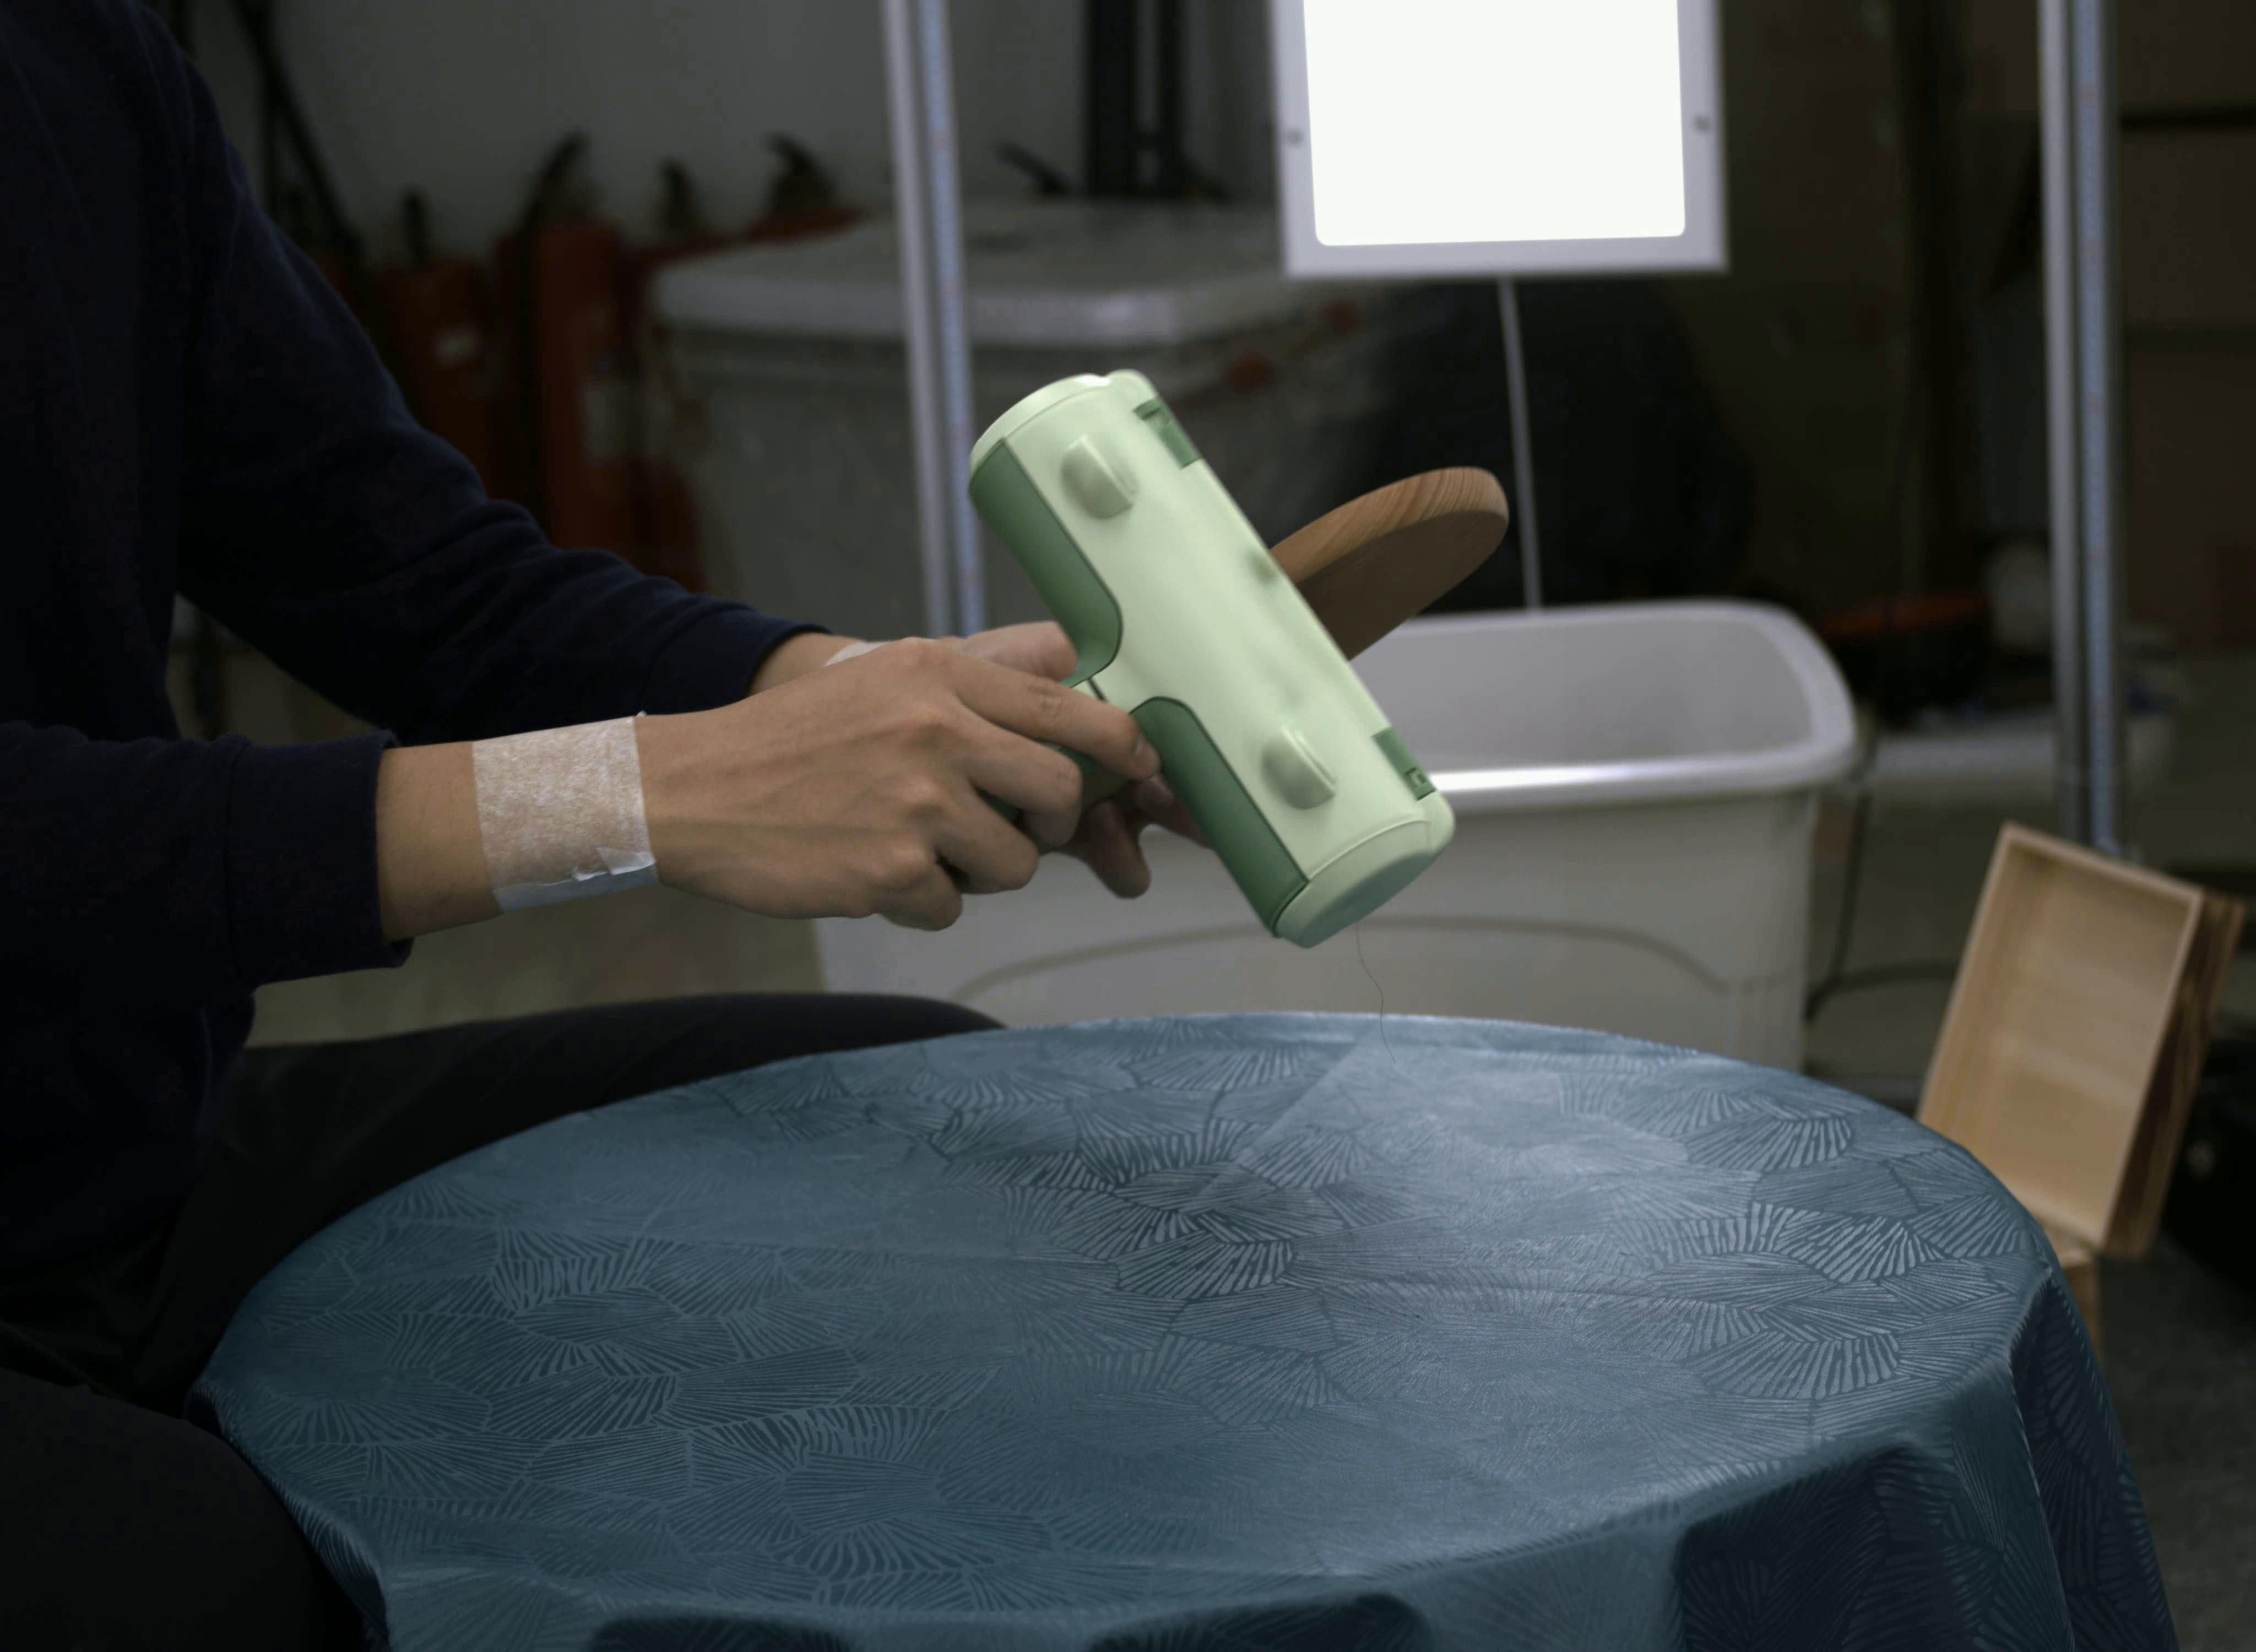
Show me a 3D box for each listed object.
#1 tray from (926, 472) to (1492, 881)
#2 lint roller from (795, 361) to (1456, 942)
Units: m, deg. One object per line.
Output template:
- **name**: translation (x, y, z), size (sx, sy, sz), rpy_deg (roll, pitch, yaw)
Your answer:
- **tray**: translation (0.026, -0.047, 1.817), size (0.235, 0.020, 0.099), rpy_deg (-37, -21, 26)
- **lint roller**: translation (-0.021, -0.037, 1.706), size (0.180, 0.200, 0.083), rpy_deg (-28, -18, -23)
